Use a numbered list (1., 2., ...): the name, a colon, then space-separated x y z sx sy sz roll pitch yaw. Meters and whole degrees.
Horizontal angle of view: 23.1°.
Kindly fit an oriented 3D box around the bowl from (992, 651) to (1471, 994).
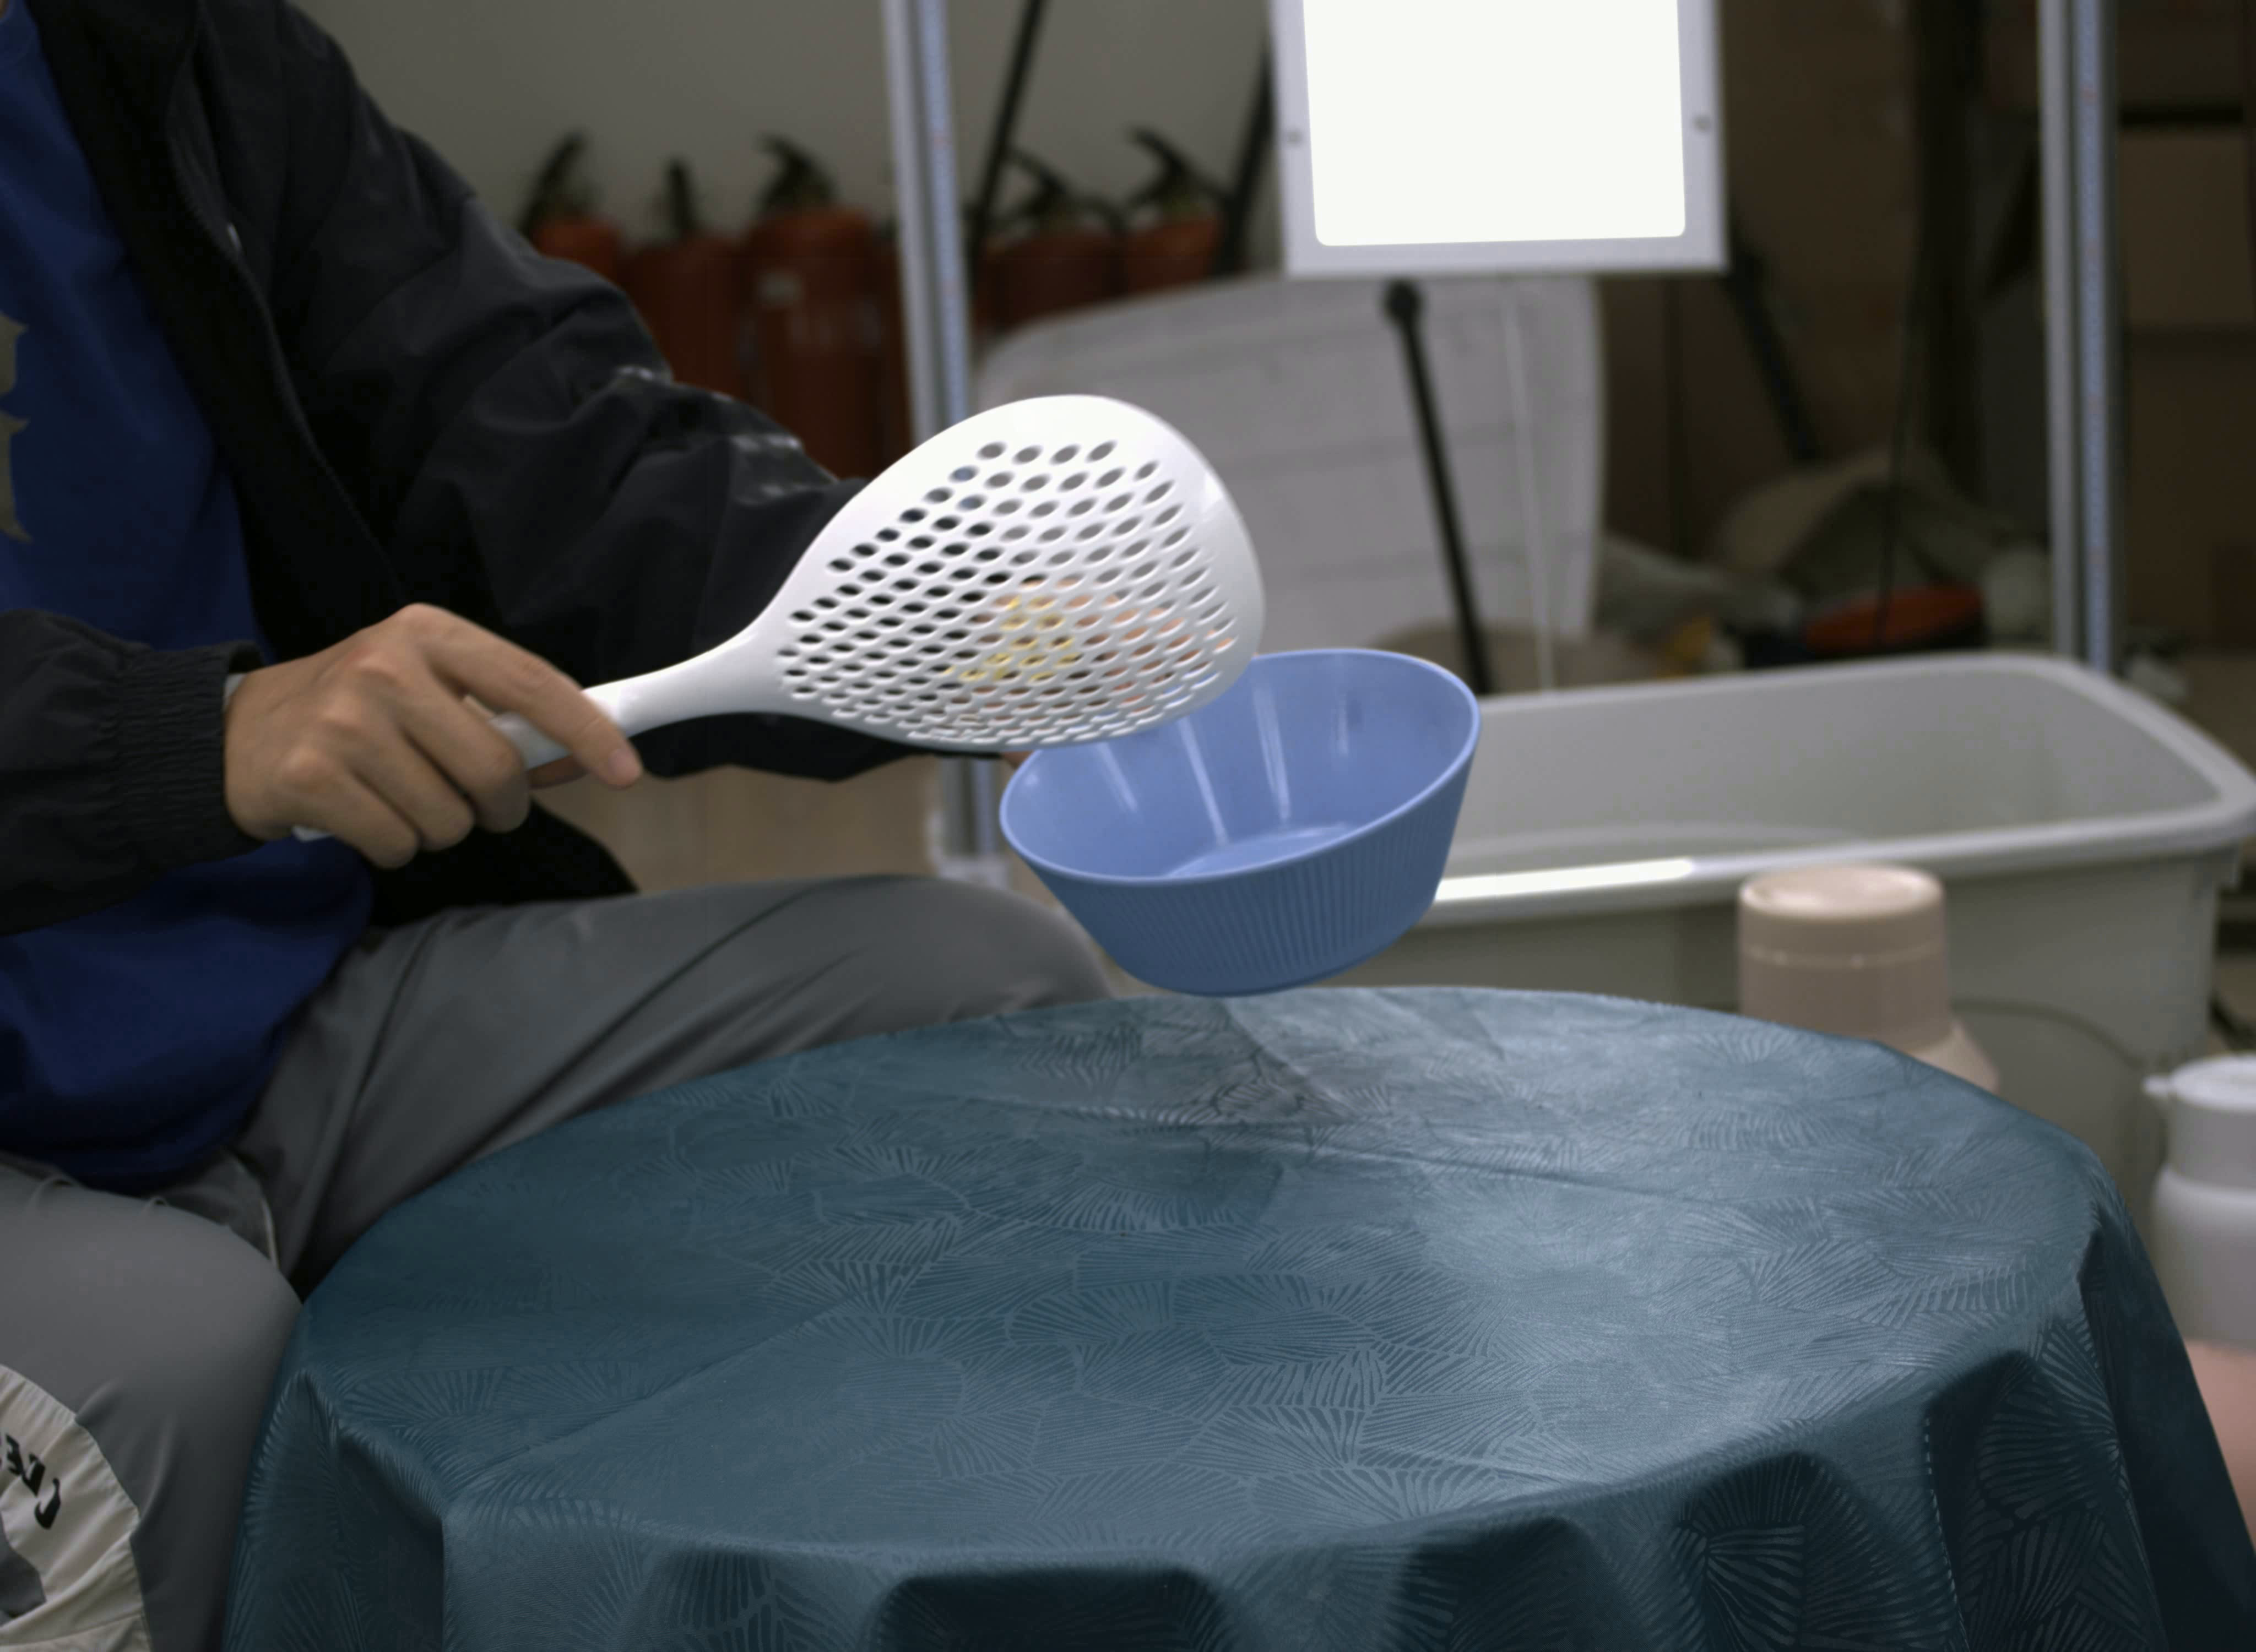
1. bowl: 0.044 0.004 1.965 0.176 0.070 0.175 -14 24 5

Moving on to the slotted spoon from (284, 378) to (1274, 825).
1. slotted spoon: -0.121 -0.052 1.866 0.352 0.136 0.050 -14 34 17
